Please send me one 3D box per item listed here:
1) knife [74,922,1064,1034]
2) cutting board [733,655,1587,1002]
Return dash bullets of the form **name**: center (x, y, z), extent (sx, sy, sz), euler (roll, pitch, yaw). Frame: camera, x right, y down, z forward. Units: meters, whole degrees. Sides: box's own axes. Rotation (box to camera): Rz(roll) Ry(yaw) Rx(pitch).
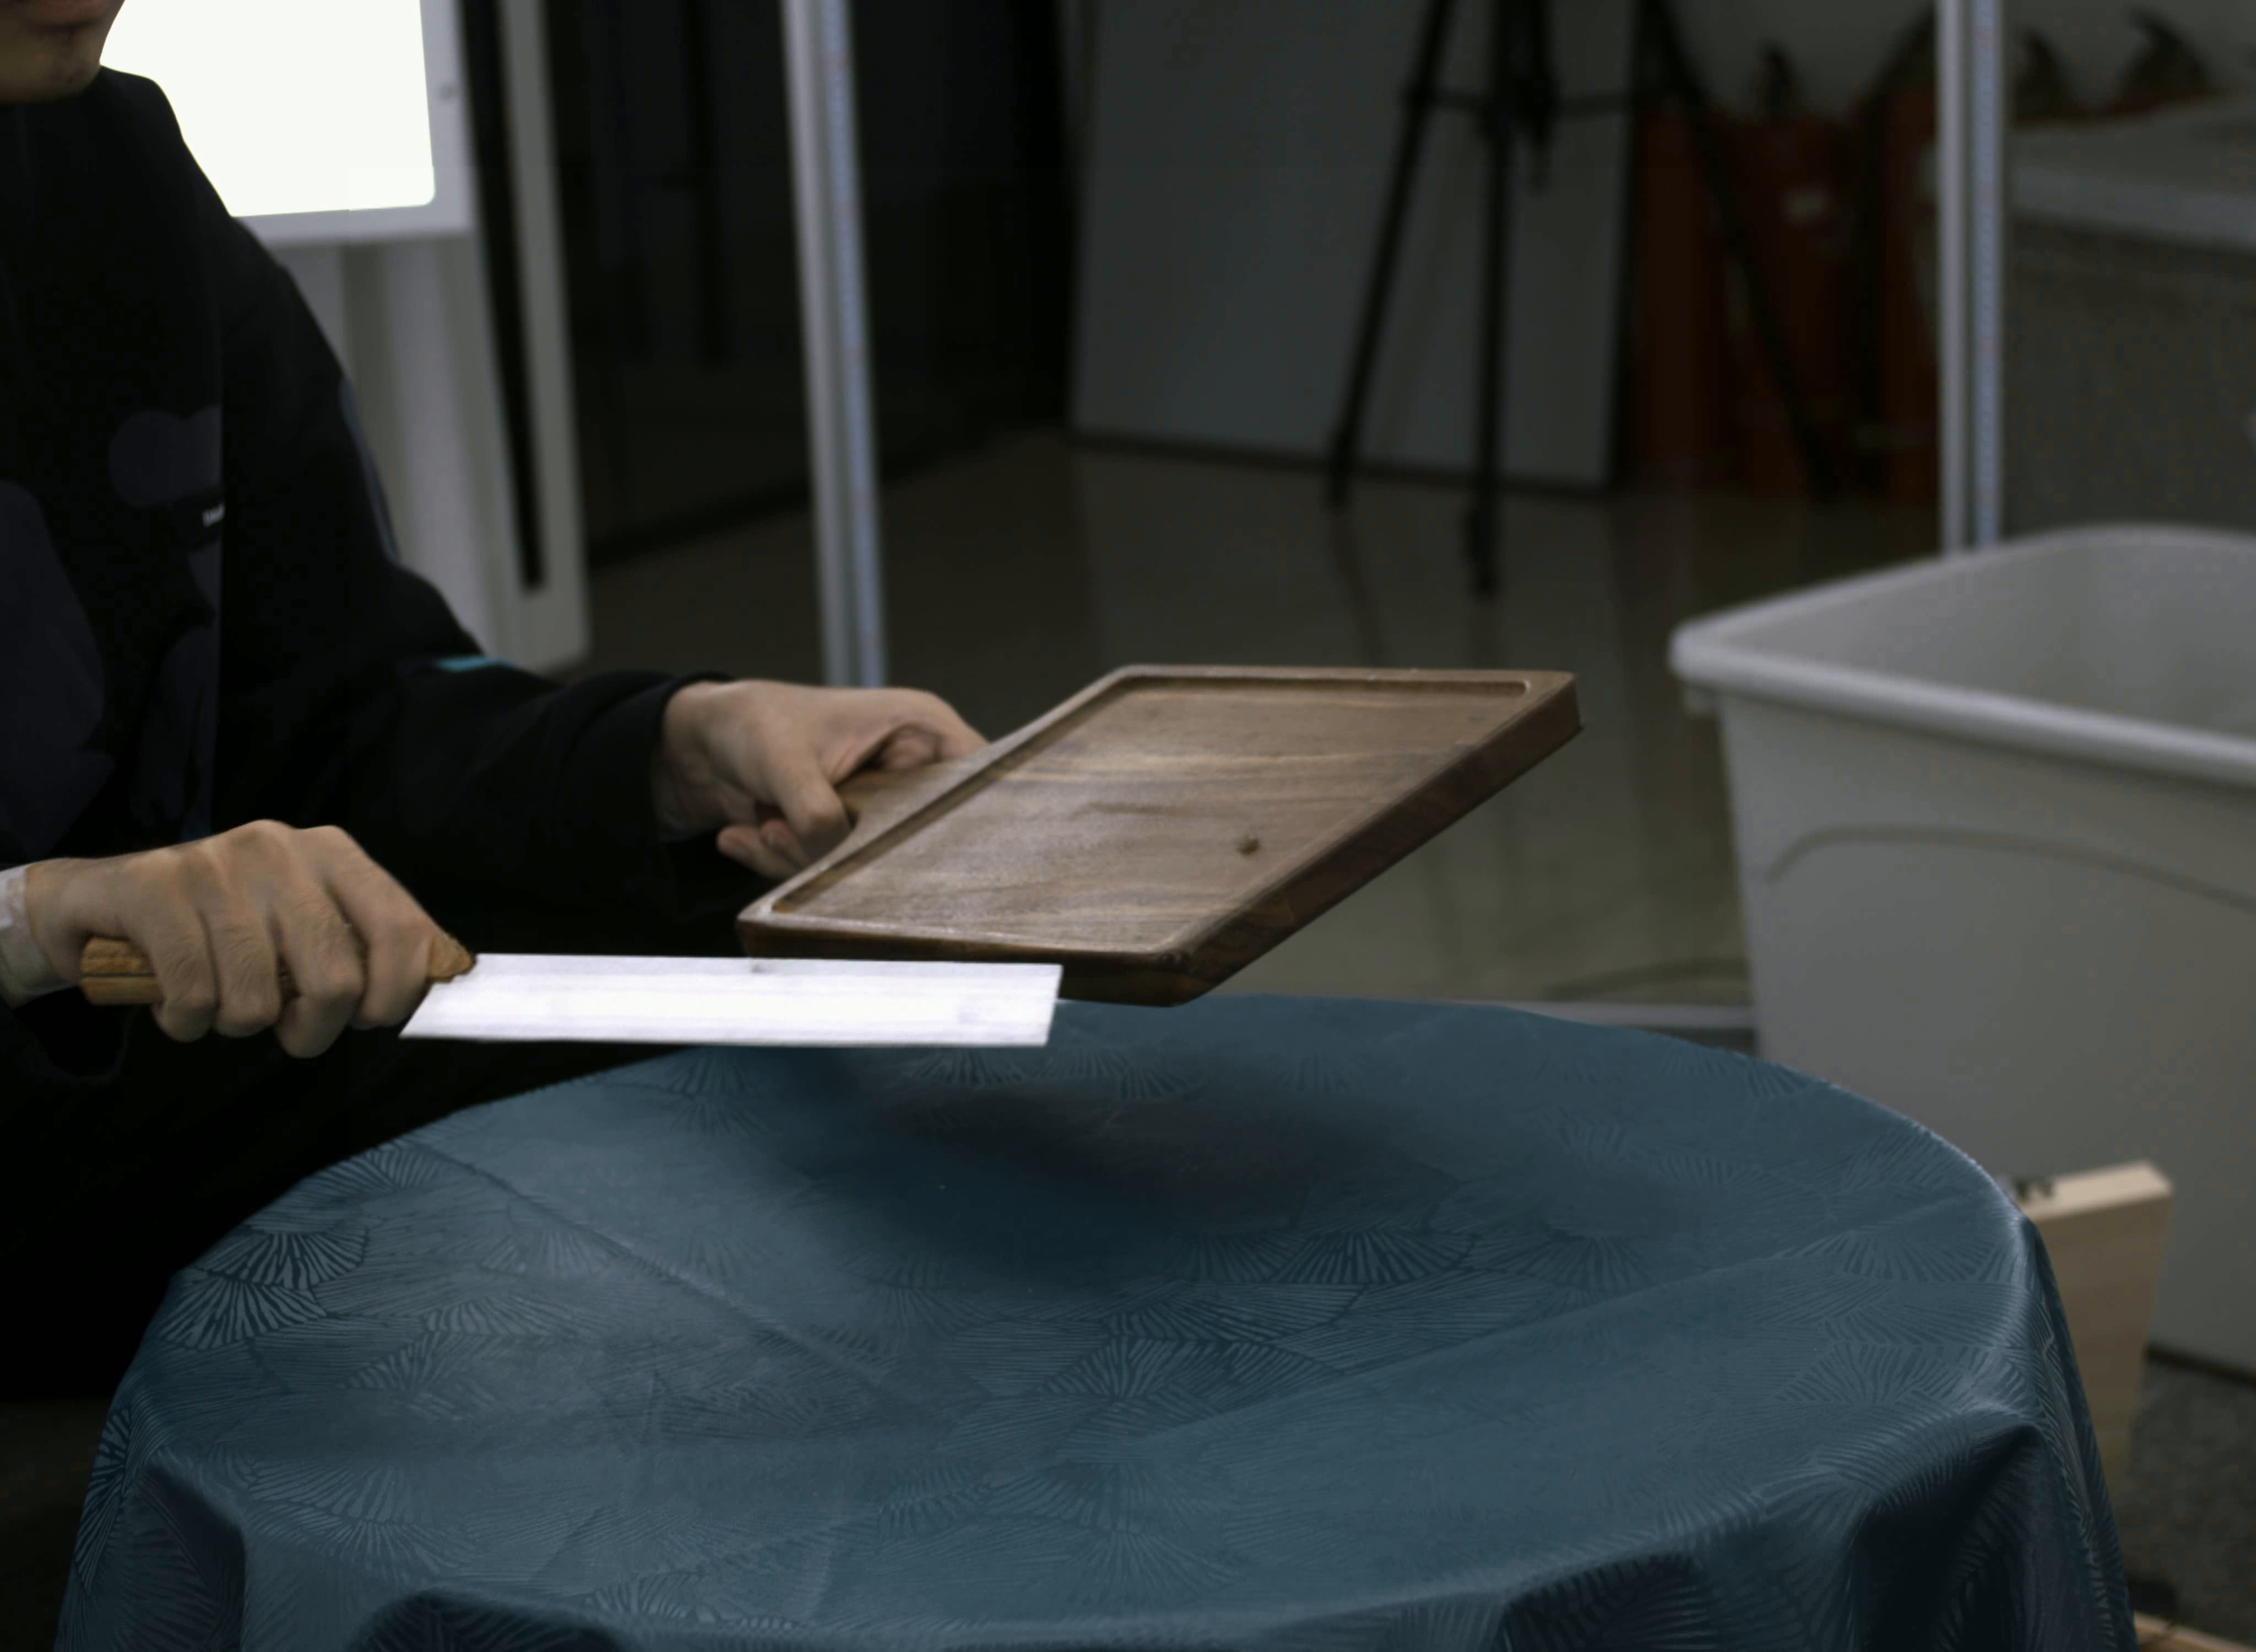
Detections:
- **knife**: center (-0.169, 0.048, 1.613), extent (0.302, 0.021, 0.093), euler (1, 12, 4)
- **cutting board**: center (-0.022, -0.002, 1.832), extent (0.198, 0.023, 0.356), euler (-35, 20, -31)
